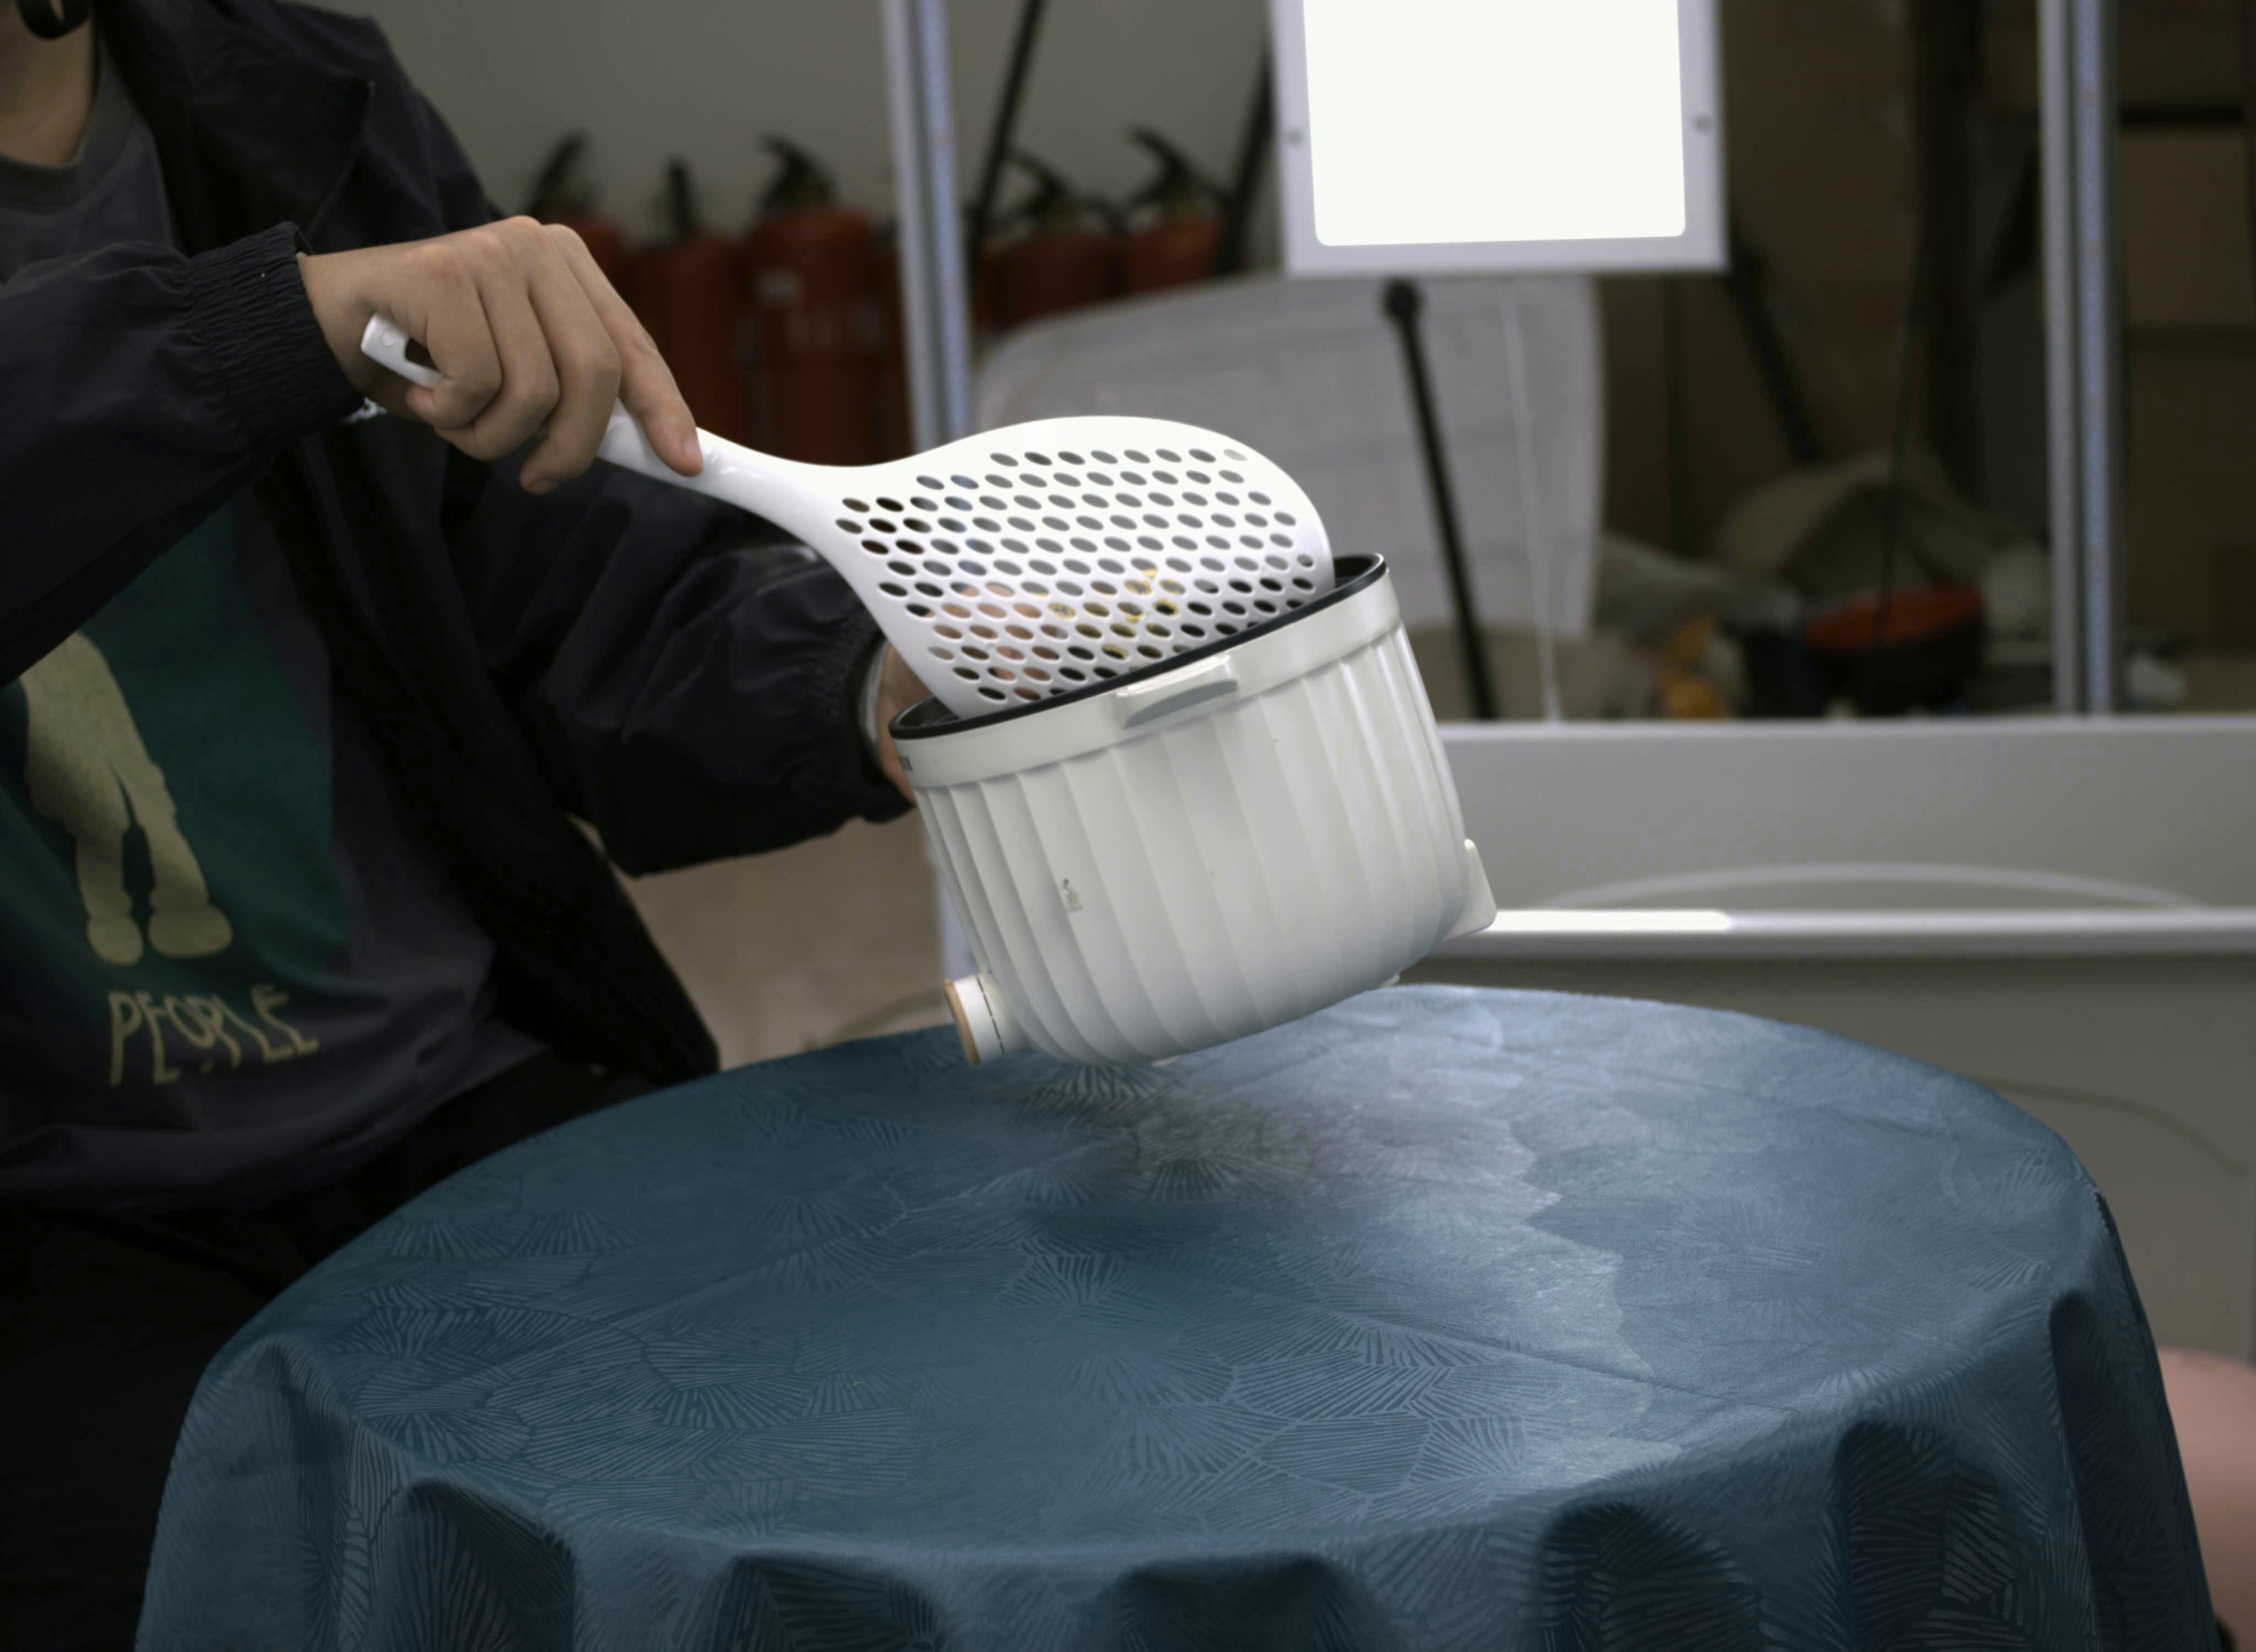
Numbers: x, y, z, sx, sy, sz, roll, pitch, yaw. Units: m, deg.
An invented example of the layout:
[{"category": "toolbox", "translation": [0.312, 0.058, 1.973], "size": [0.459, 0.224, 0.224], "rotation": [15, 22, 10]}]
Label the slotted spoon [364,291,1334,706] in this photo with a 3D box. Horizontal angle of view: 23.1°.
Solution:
[{"category": "slotted spoon", "translation": [-0.095, -0.109, 1.874], "size": [0.346, 0.137, 0.050], "rotation": [19, 4, -4]}]

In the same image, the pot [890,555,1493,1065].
[{"category": "pot", "translation": [0.018, 0.000, 1.895], "size": [0.189, 0.143, 0.241], "rotation": [-16, 6, -4]}]
